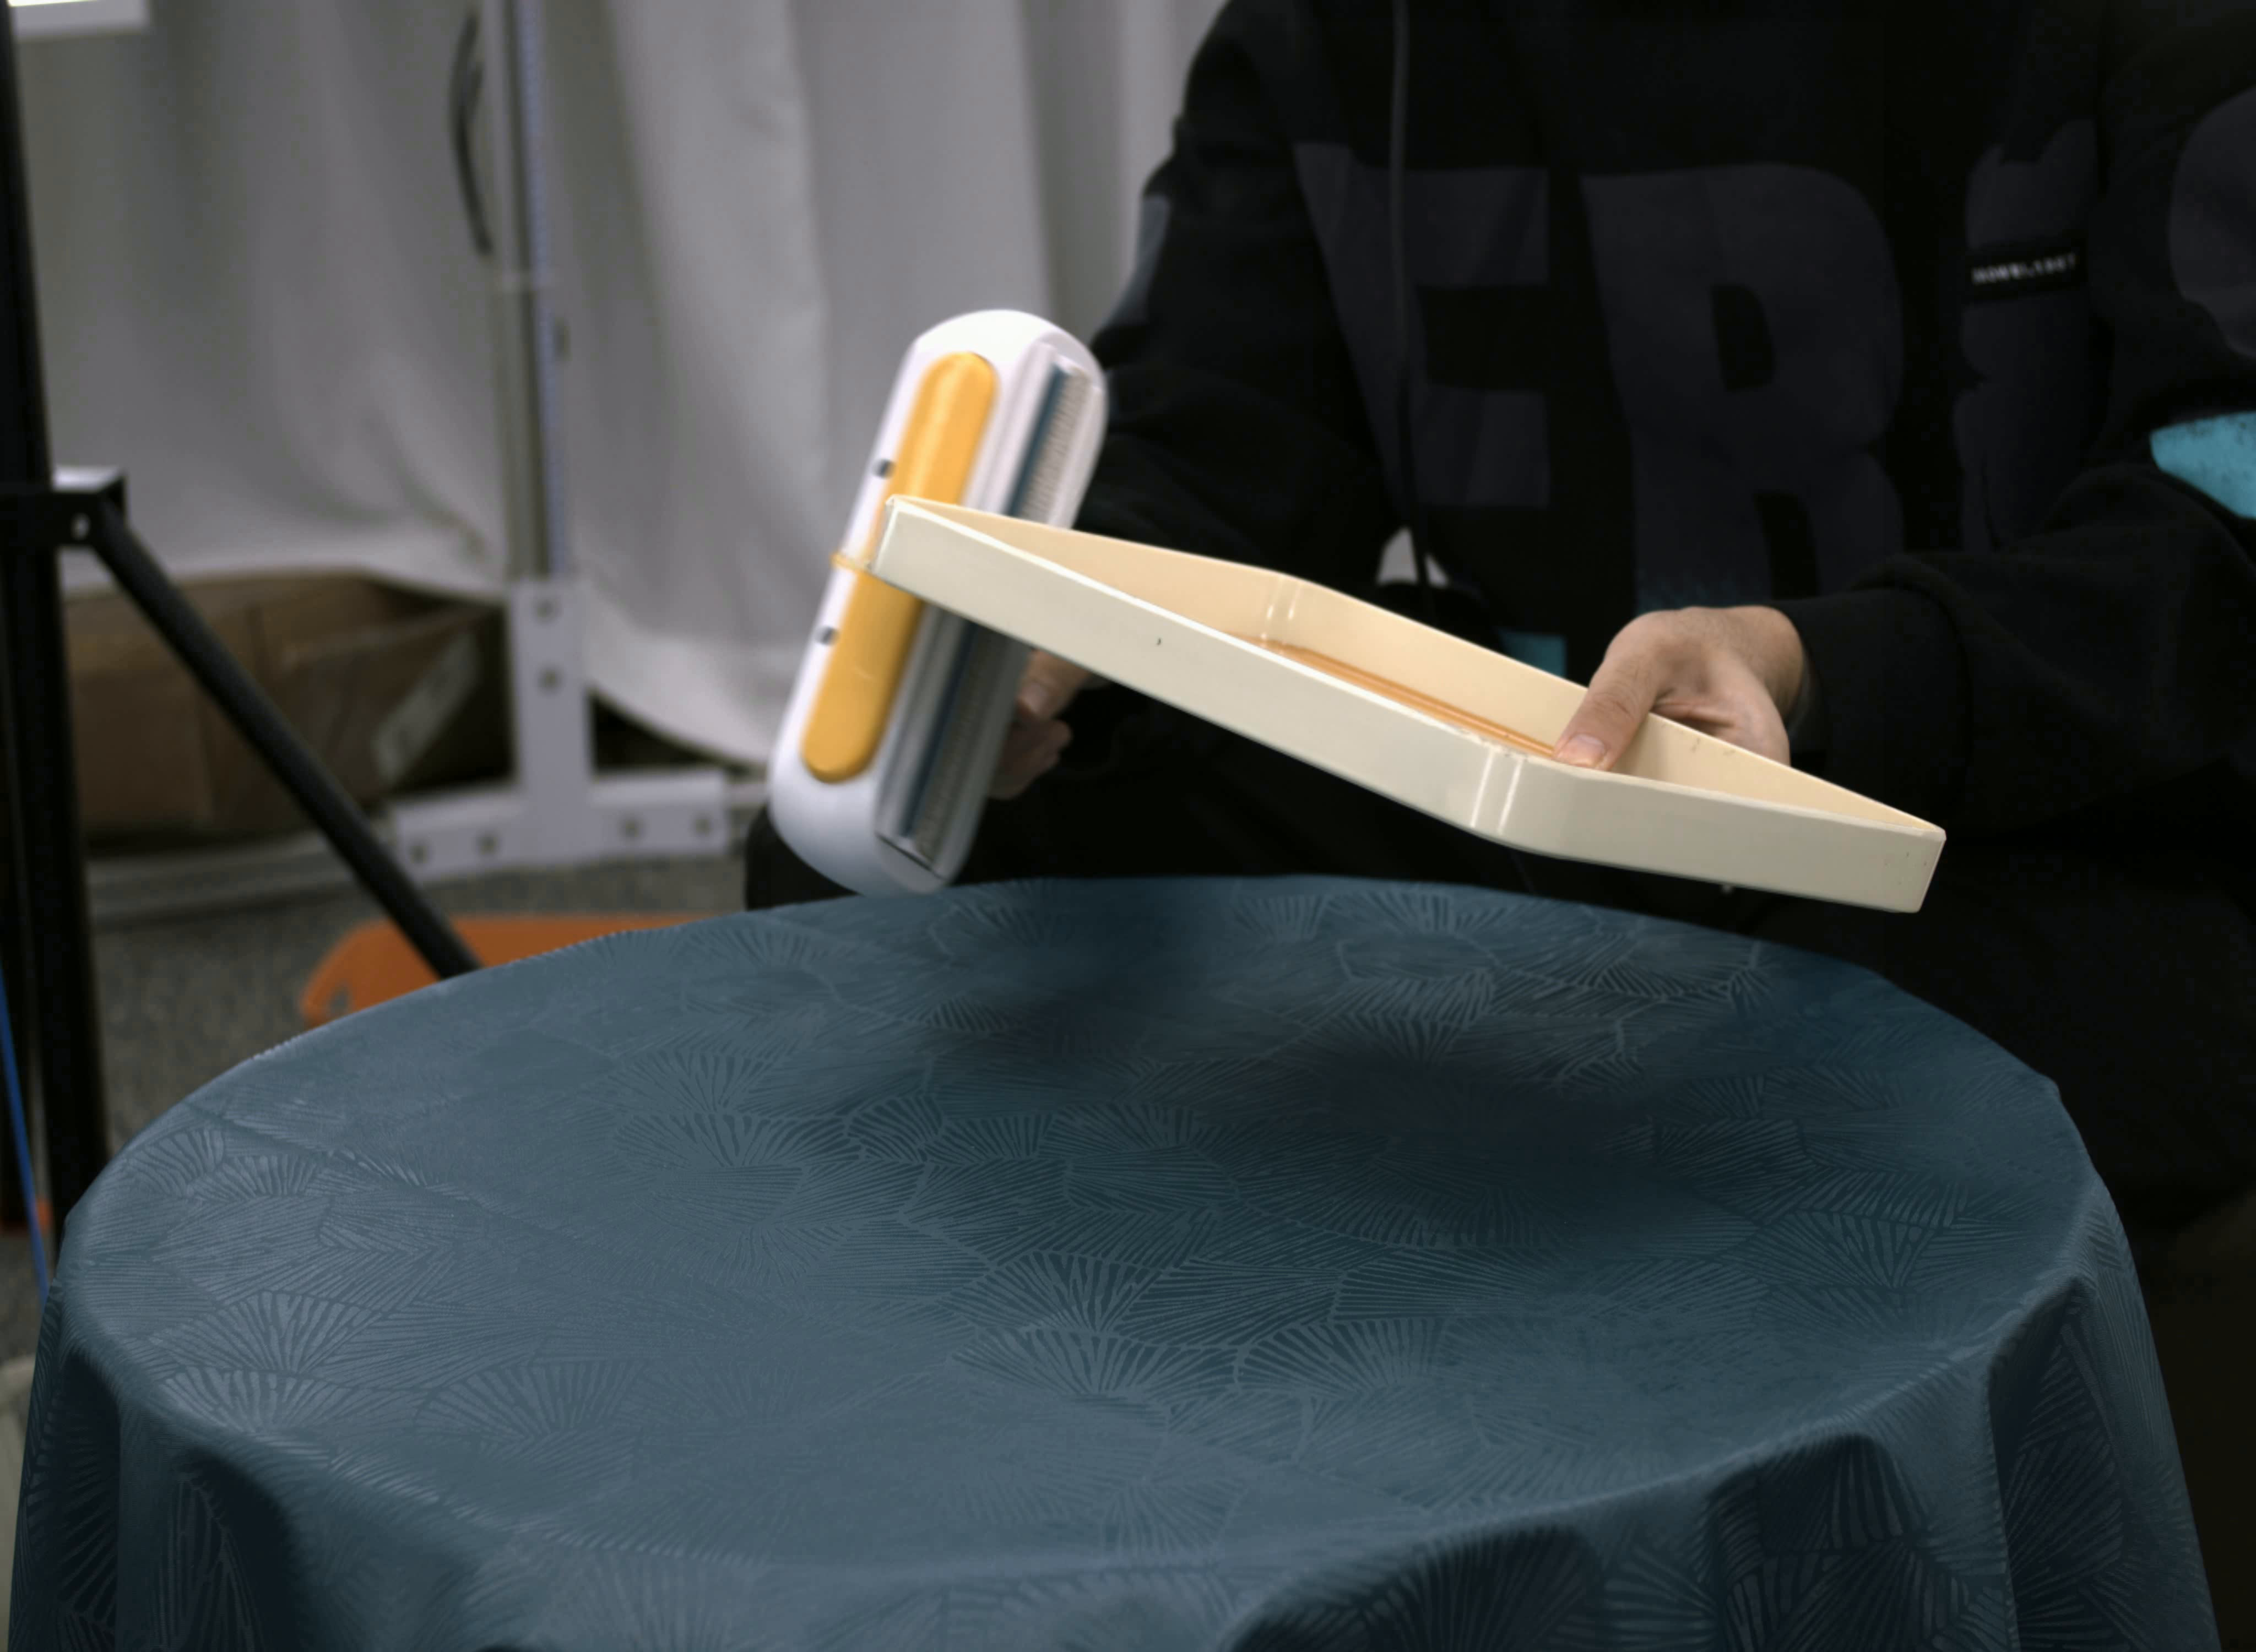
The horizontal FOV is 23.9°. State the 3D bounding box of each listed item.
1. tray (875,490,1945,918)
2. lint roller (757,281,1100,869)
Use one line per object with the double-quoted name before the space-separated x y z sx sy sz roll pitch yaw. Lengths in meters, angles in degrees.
"tray" 0.079 -0.037 1.580 0.186 0.027 0.307 10 10 -42
"lint roller" -0.050 -0.058 1.746 0.075 0.194 0.188 7 -20 24
